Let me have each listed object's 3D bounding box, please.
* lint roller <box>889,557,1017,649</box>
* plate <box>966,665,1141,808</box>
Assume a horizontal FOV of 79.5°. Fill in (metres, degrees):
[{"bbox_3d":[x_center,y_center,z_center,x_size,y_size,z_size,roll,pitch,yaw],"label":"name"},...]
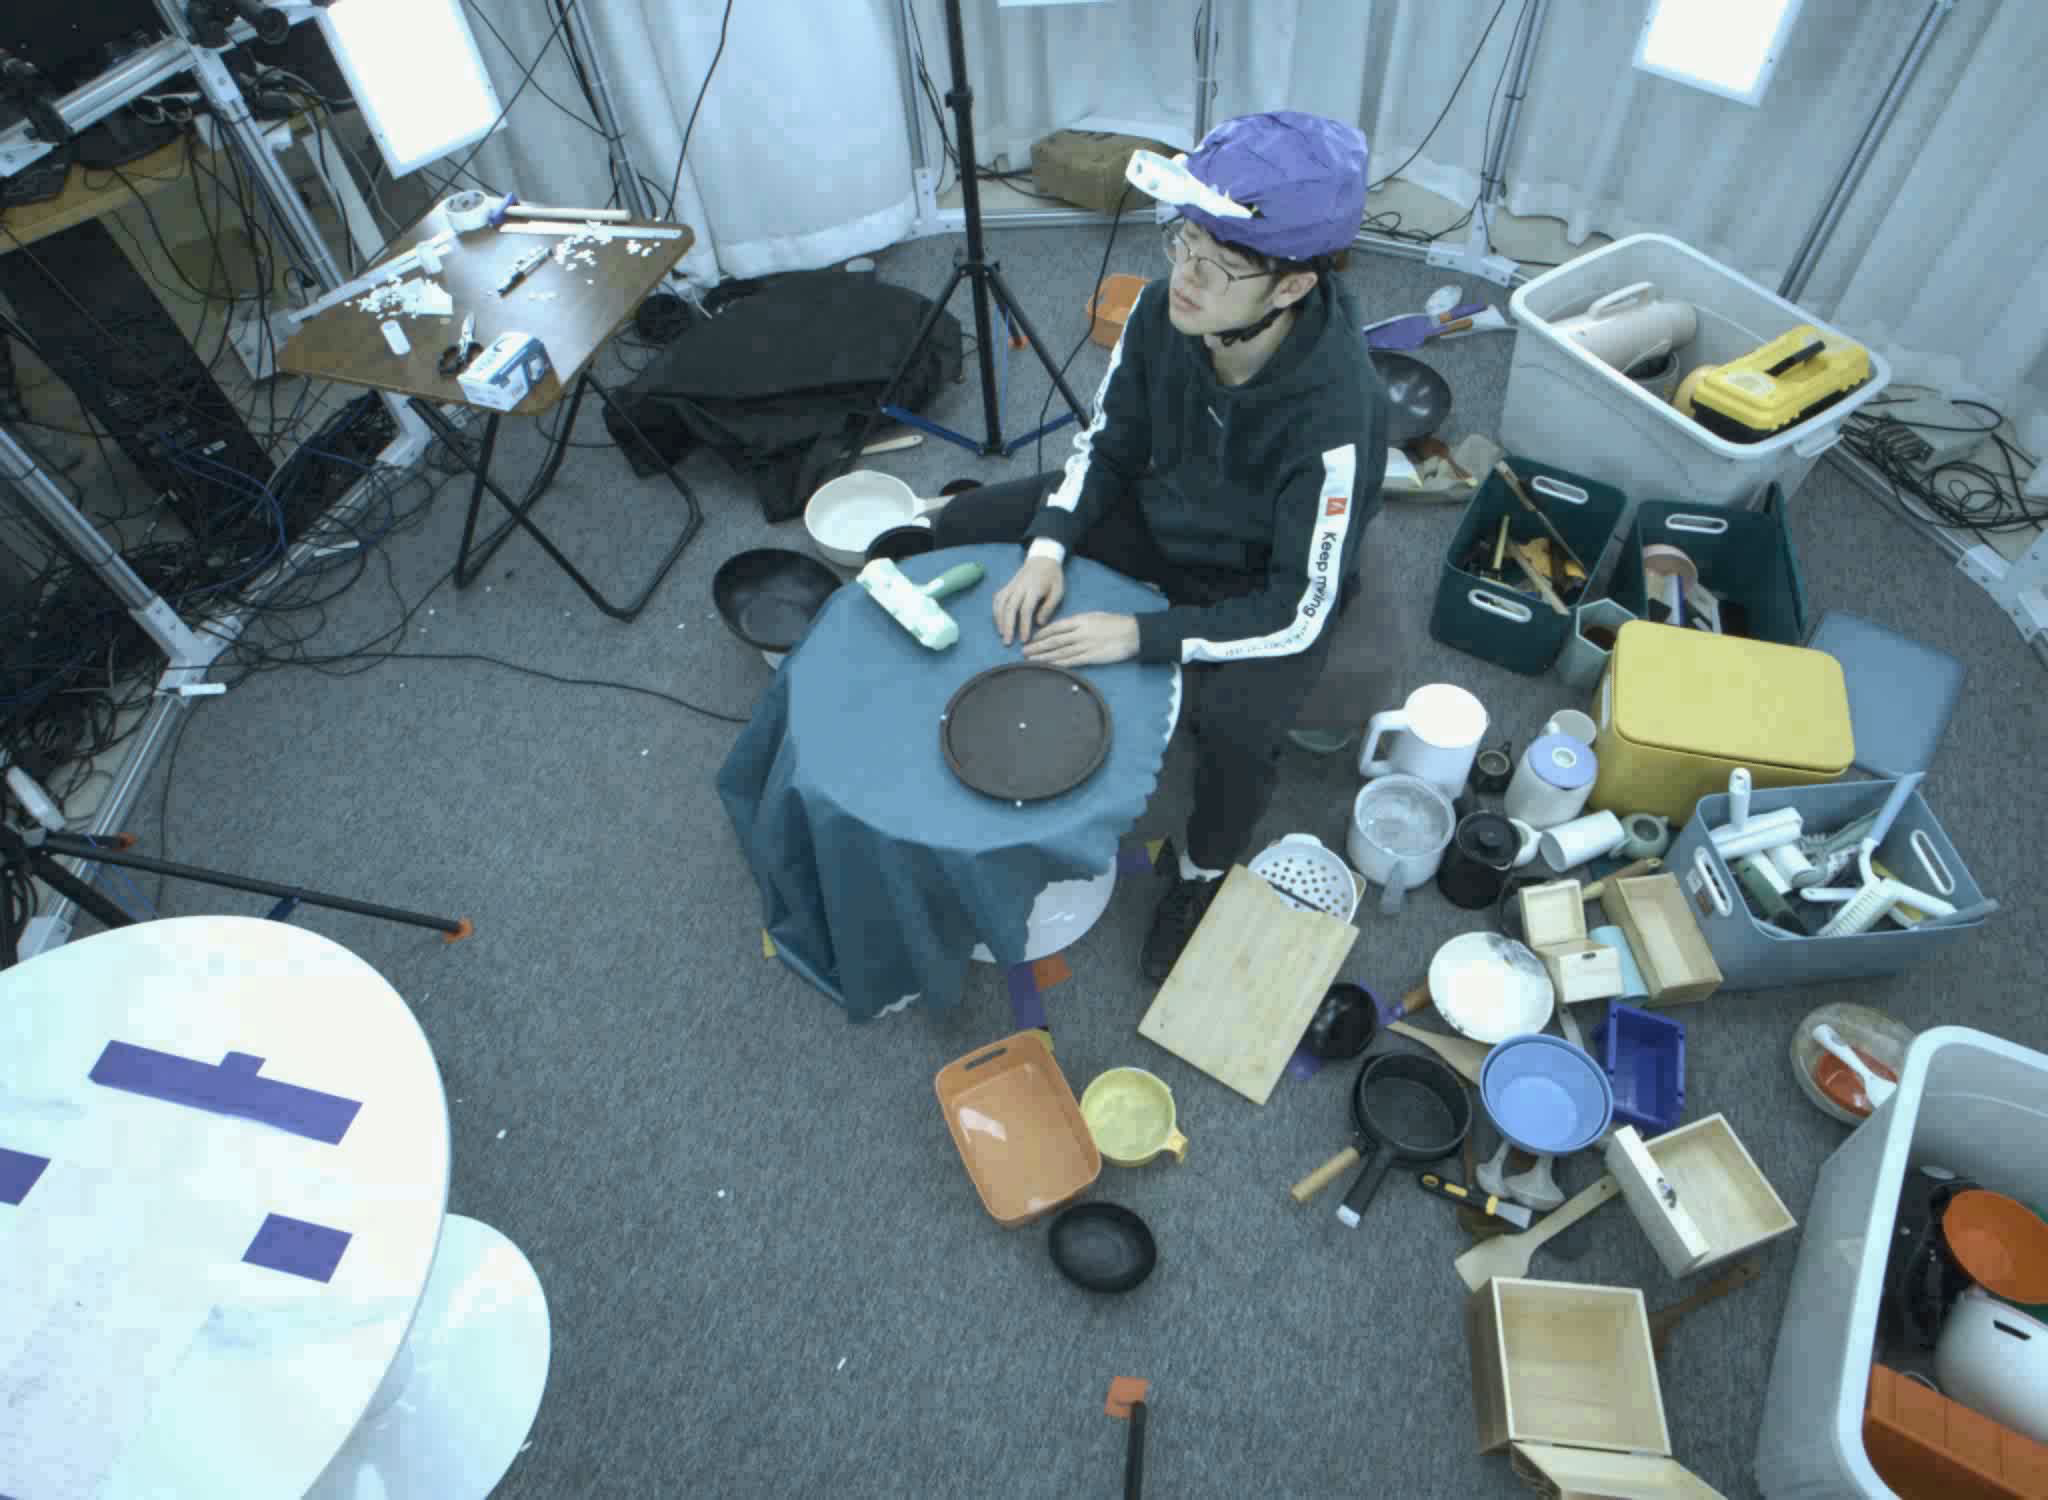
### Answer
[{"bbox_3d":[-0.089,-0.264,1.924,0.184,0.083,0.195,-35,60,-17],"label":"lint roller"},{"bbox_3d":[0.043,-0.022,1.782,0.254,0.029,0.252,-1,54,3],"label":"plate"}]
